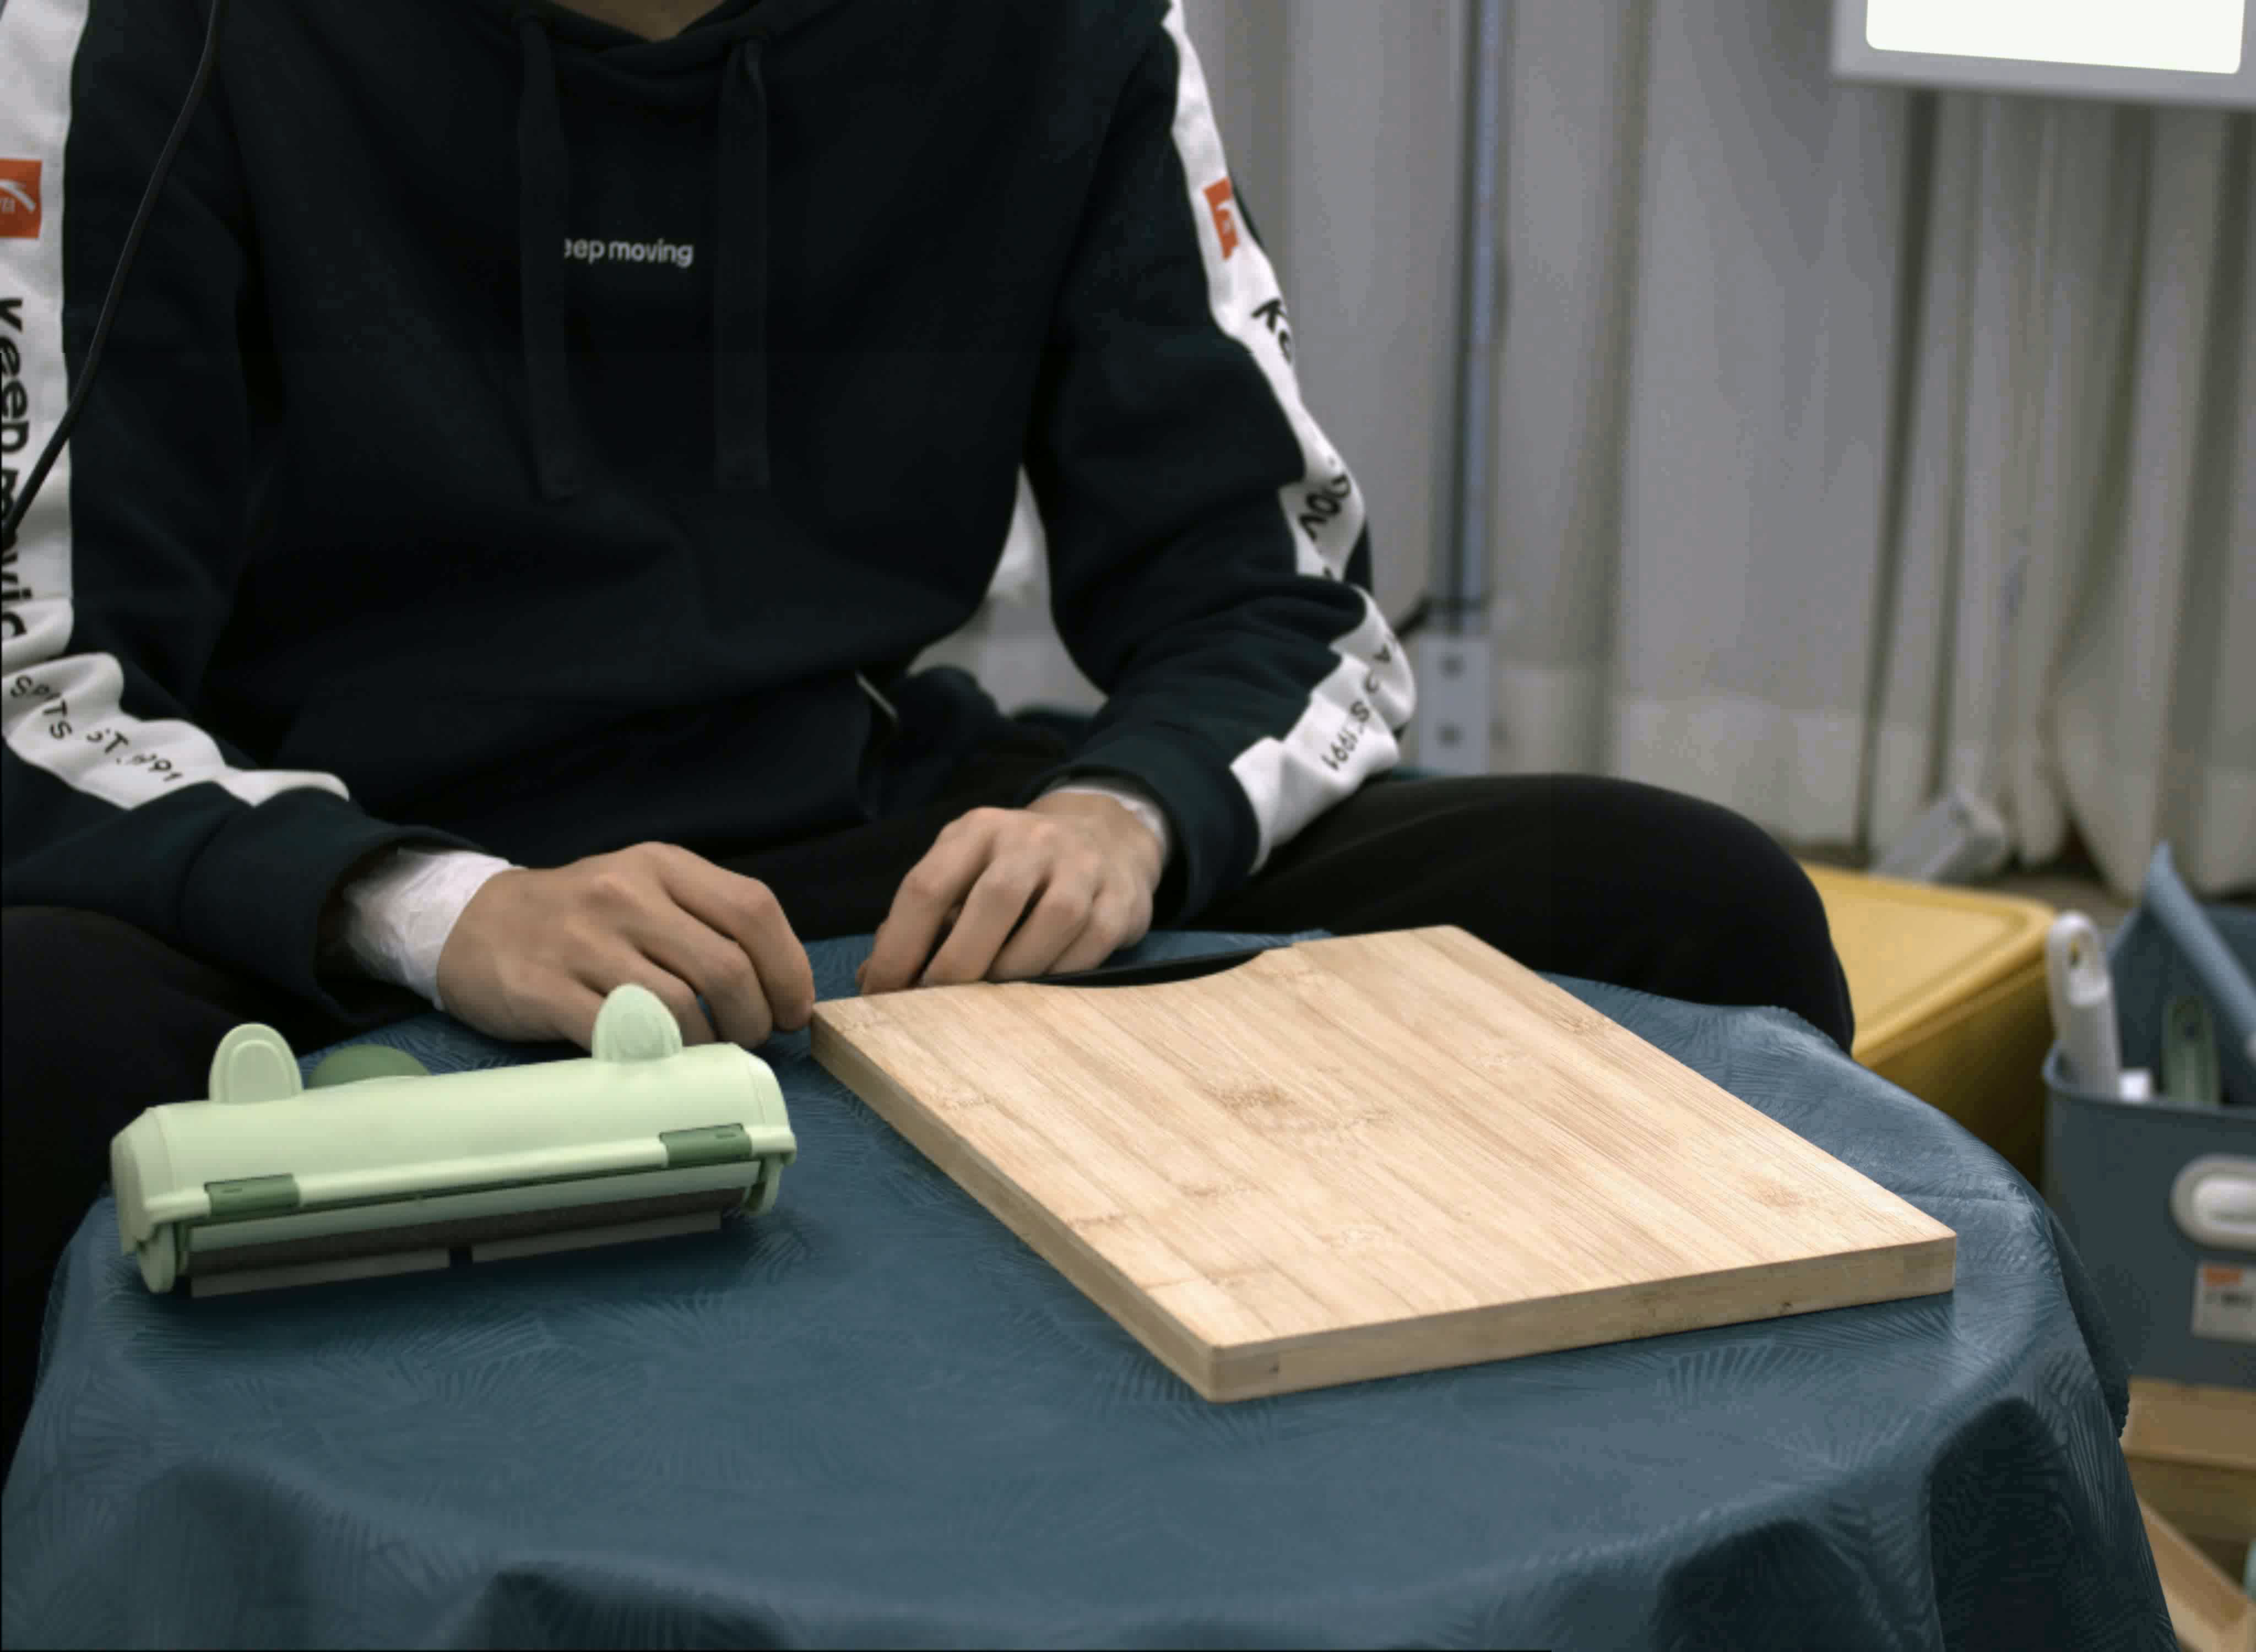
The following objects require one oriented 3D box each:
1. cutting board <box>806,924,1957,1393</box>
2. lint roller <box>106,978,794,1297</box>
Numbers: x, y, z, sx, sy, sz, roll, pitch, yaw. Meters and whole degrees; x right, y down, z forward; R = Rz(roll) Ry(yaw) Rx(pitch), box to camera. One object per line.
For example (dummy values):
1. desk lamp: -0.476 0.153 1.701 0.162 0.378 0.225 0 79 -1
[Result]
1. cutting board: 0.067 0.097 1.647 0.251 0.024 0.344 -6 17 -23
2. lint roller: -0.218 0.076 1.593 0.199 0.083 0.181 -6 20 -21
